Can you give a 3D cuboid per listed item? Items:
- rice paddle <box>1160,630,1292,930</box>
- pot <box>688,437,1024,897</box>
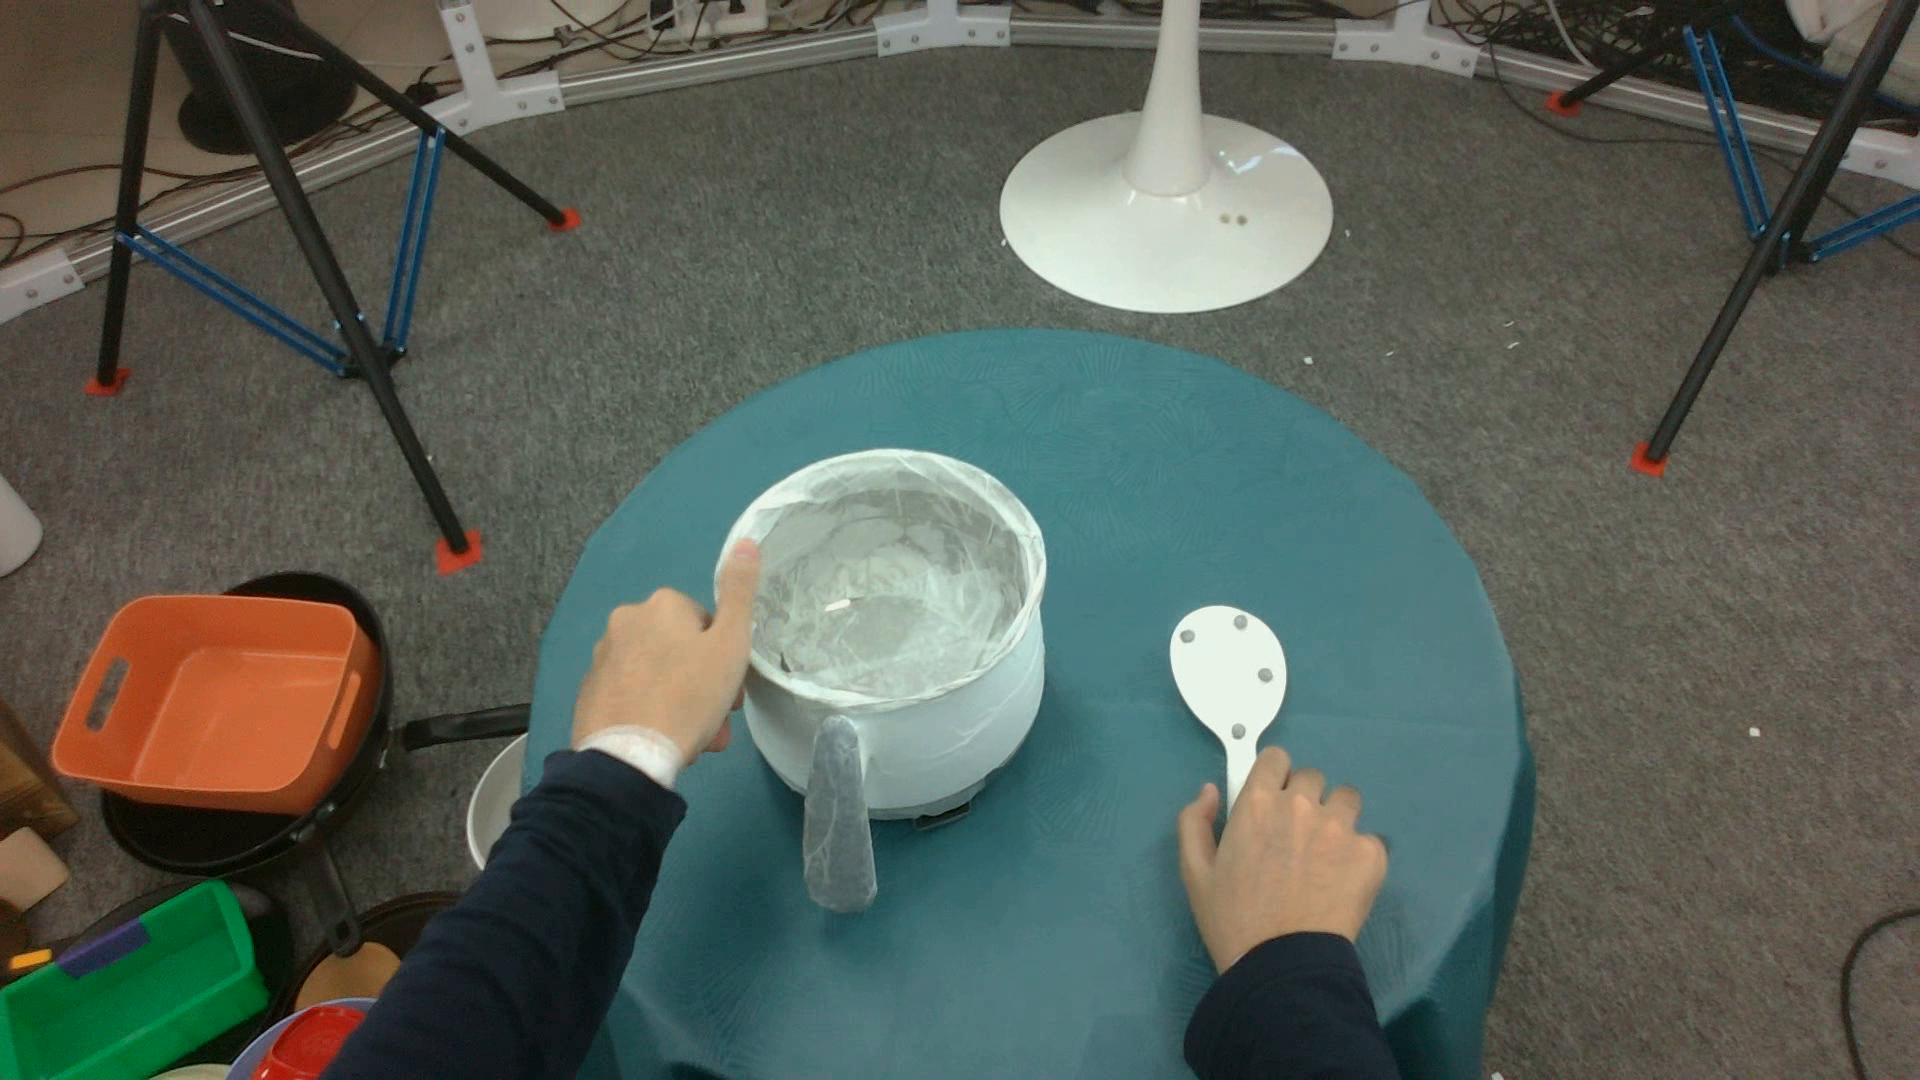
[{"bbox_3d":[0.155,0.124,0.787,0.069,0.029,0.206,-3,43,3],"label":"rice paddle"},{"bbox_3d":[-0.056,0.070,0.759,0.178,0.136,0.235,4,49,7],"label":"pot"}]
